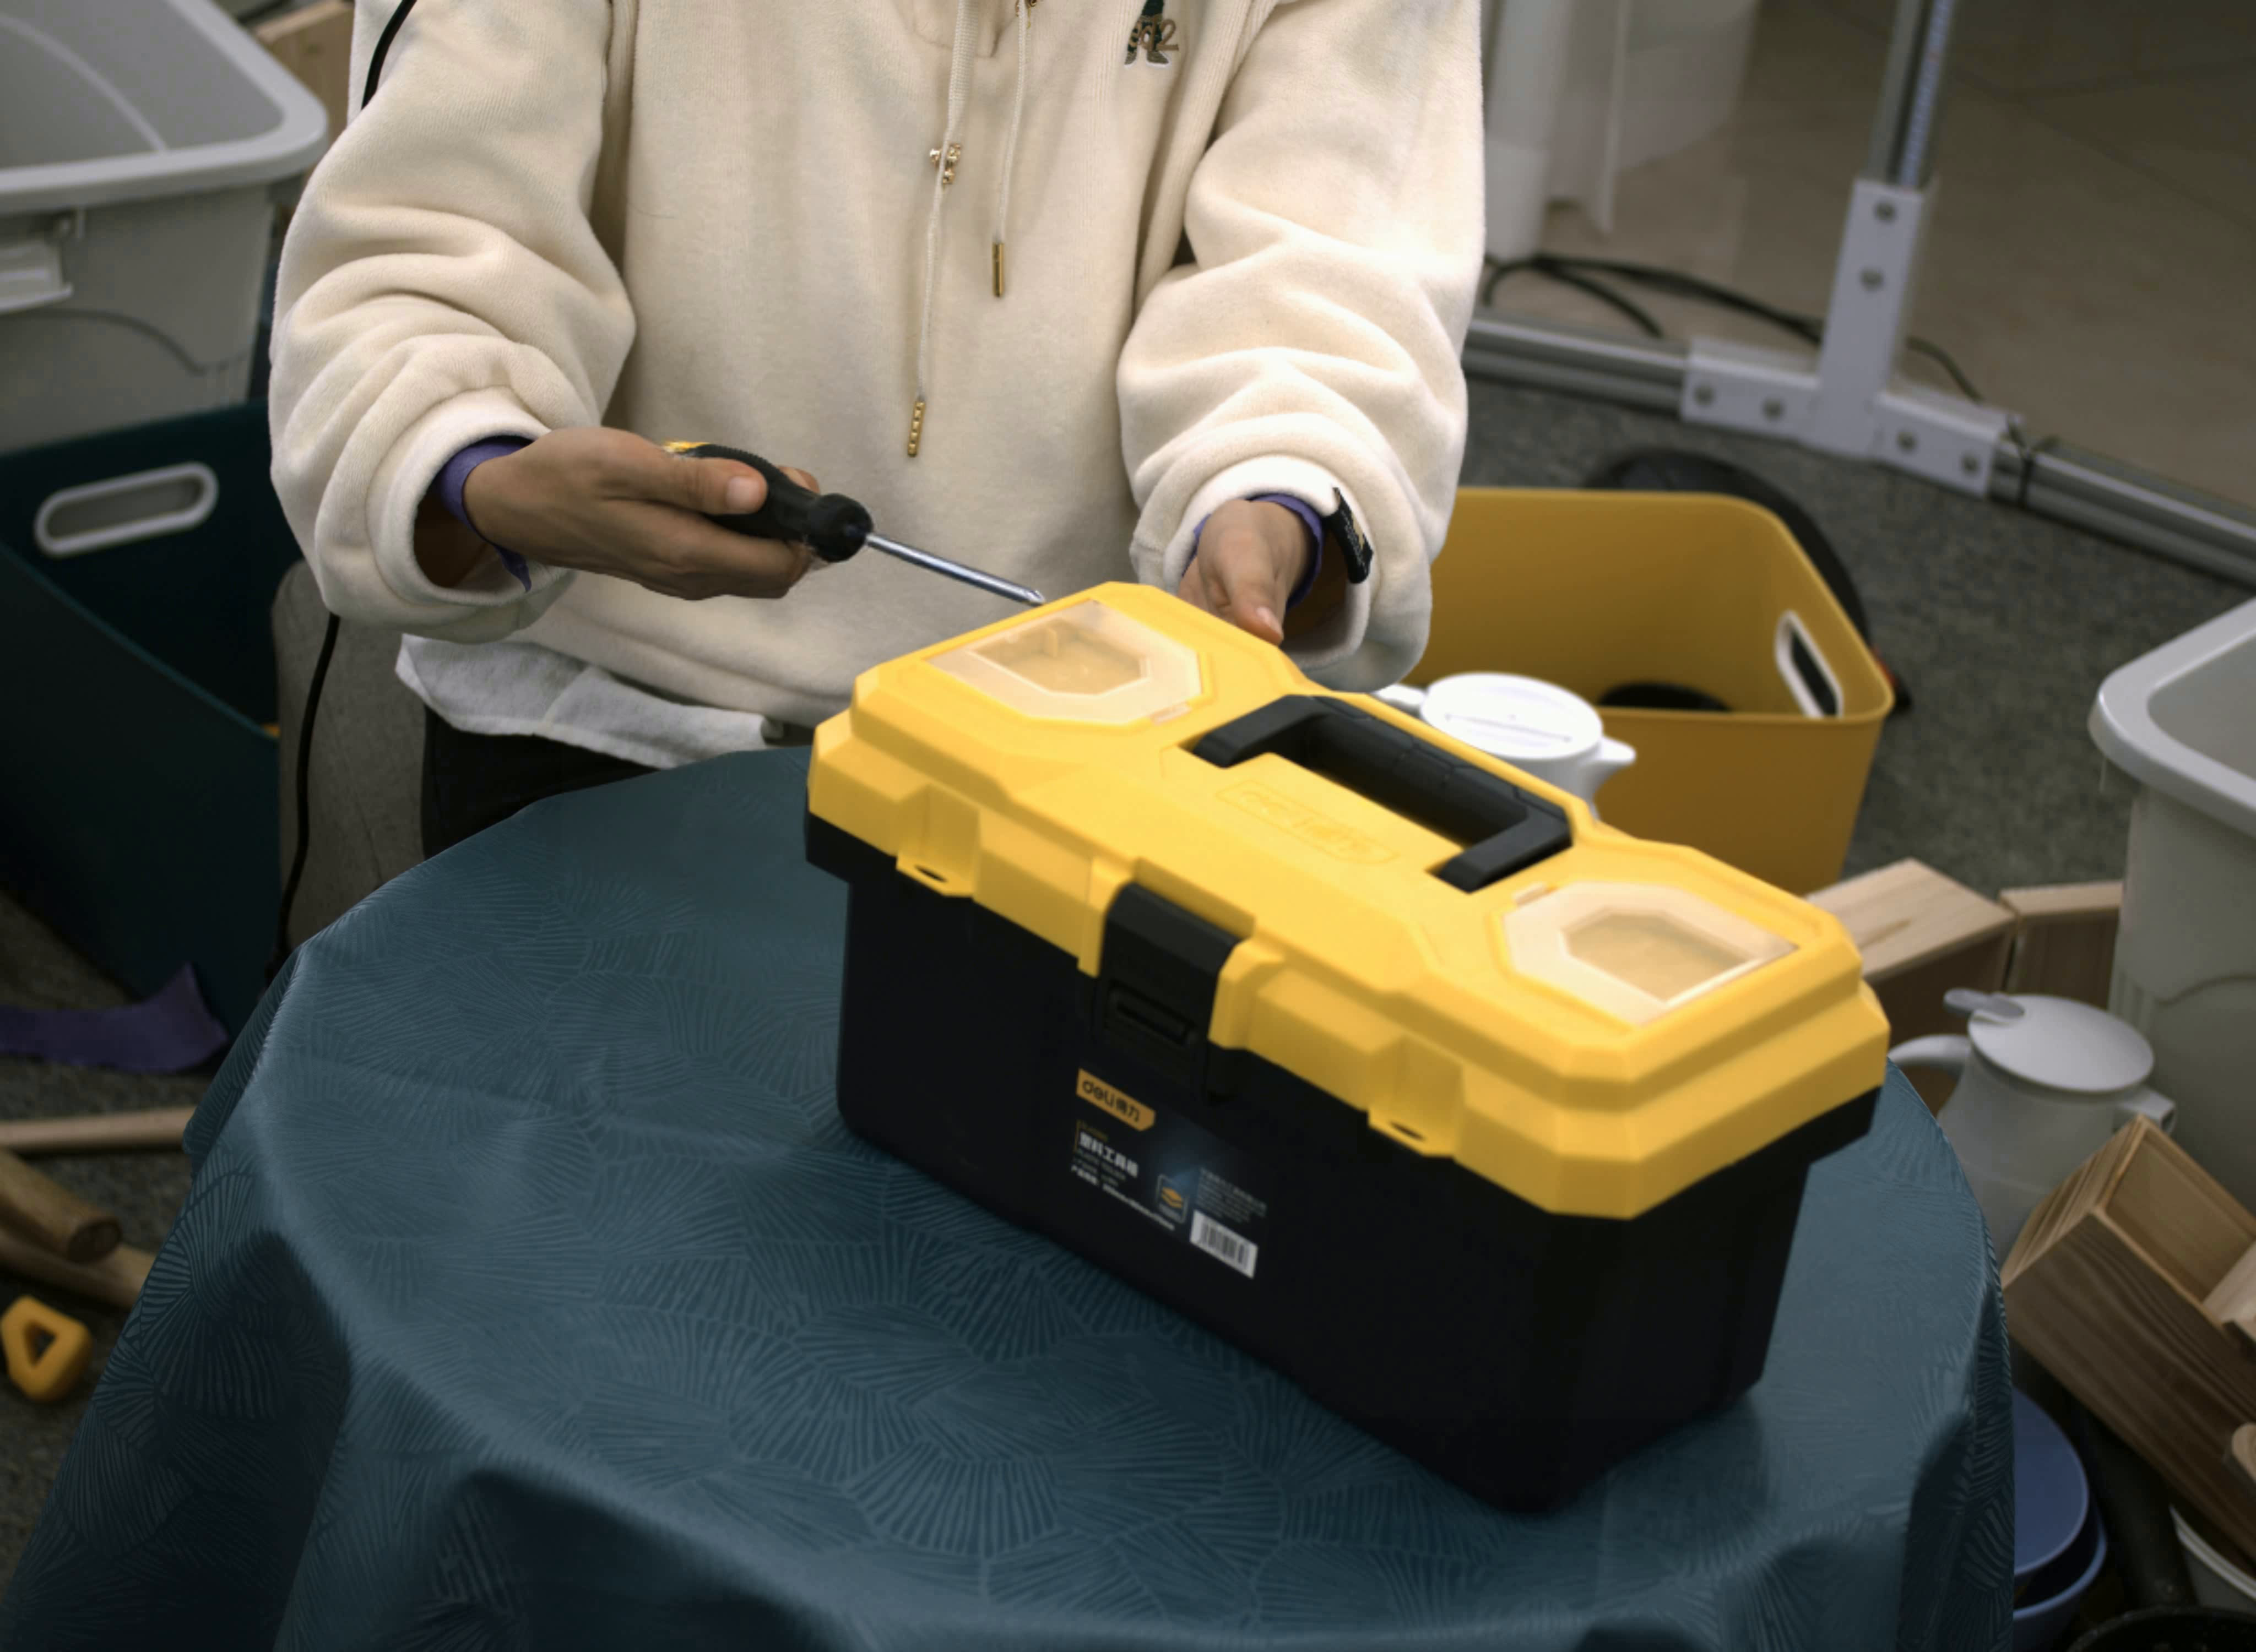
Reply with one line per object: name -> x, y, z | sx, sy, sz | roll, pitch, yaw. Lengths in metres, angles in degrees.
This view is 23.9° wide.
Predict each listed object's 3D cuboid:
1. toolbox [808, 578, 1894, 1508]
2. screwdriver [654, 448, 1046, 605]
toolbox -> 0.061, 0.066, 1.739 | 0.354, 0.172, 0.180 | 28, 33, 35
screwdriver -> -0.098, -0.099, 1.877 | 0.031, 0.031, 0.198 | -19, 32, -41
